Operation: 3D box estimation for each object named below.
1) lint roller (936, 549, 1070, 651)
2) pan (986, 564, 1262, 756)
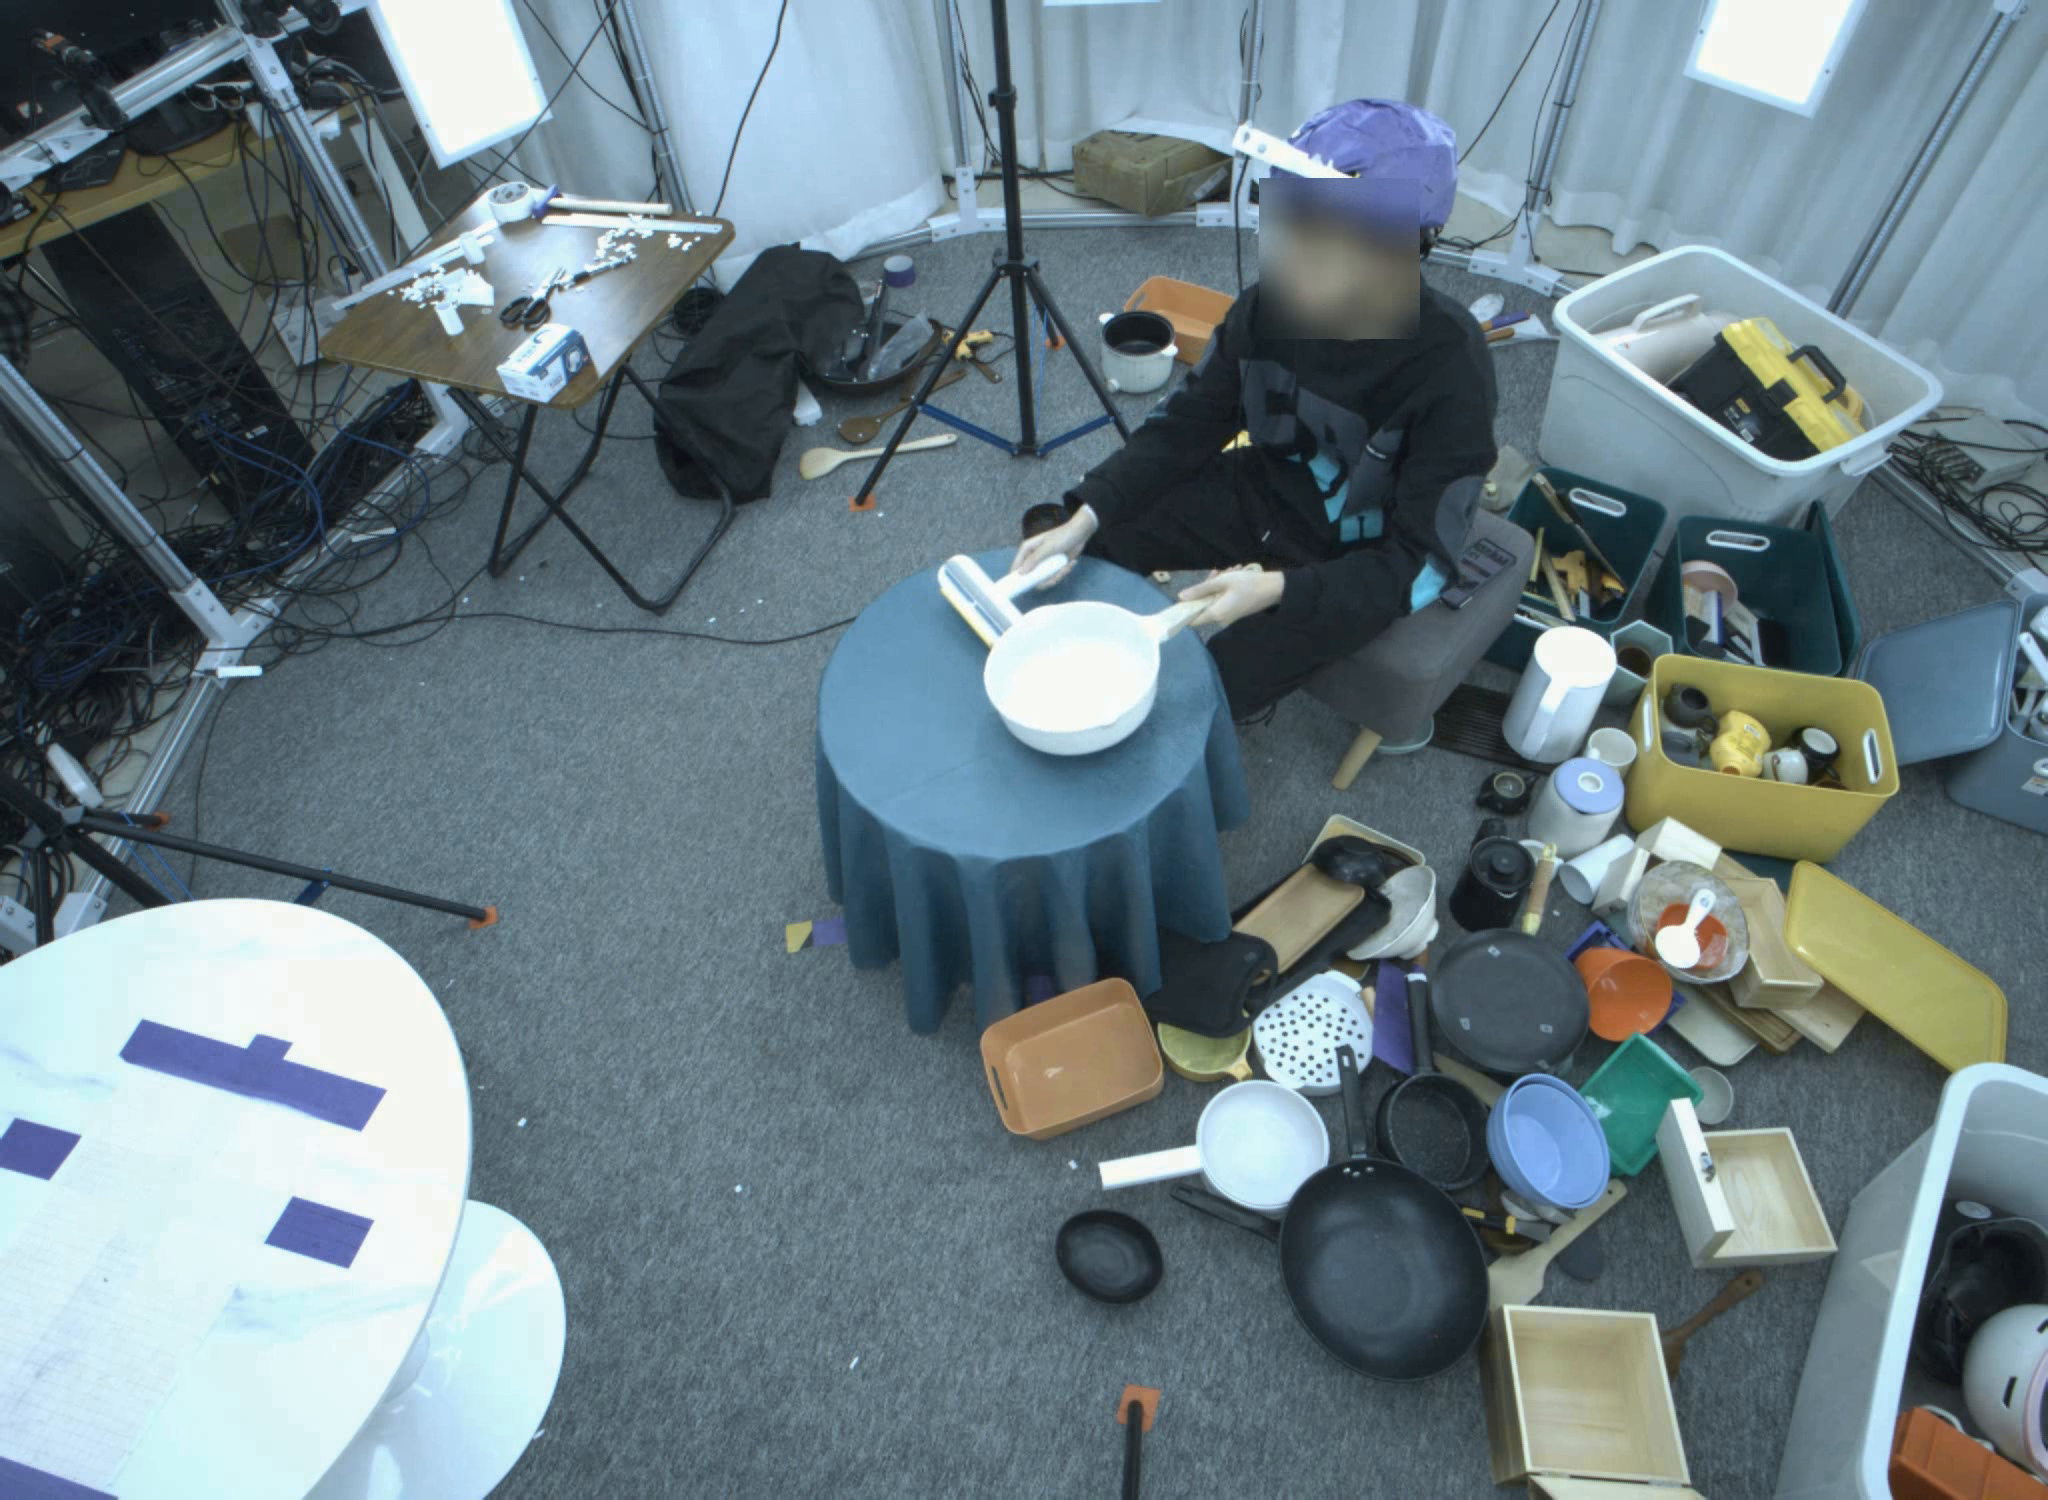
[{"bbox_3d":[-0.016,-0.260,1.901,0.193,0.075,0.189,-35,62,-4],"label":"lint roller"},{"bbox_3d":[0.157,-0.139,1.773,0.437,0.103,0.258,-25,48,-9],"label":"pan"}]
